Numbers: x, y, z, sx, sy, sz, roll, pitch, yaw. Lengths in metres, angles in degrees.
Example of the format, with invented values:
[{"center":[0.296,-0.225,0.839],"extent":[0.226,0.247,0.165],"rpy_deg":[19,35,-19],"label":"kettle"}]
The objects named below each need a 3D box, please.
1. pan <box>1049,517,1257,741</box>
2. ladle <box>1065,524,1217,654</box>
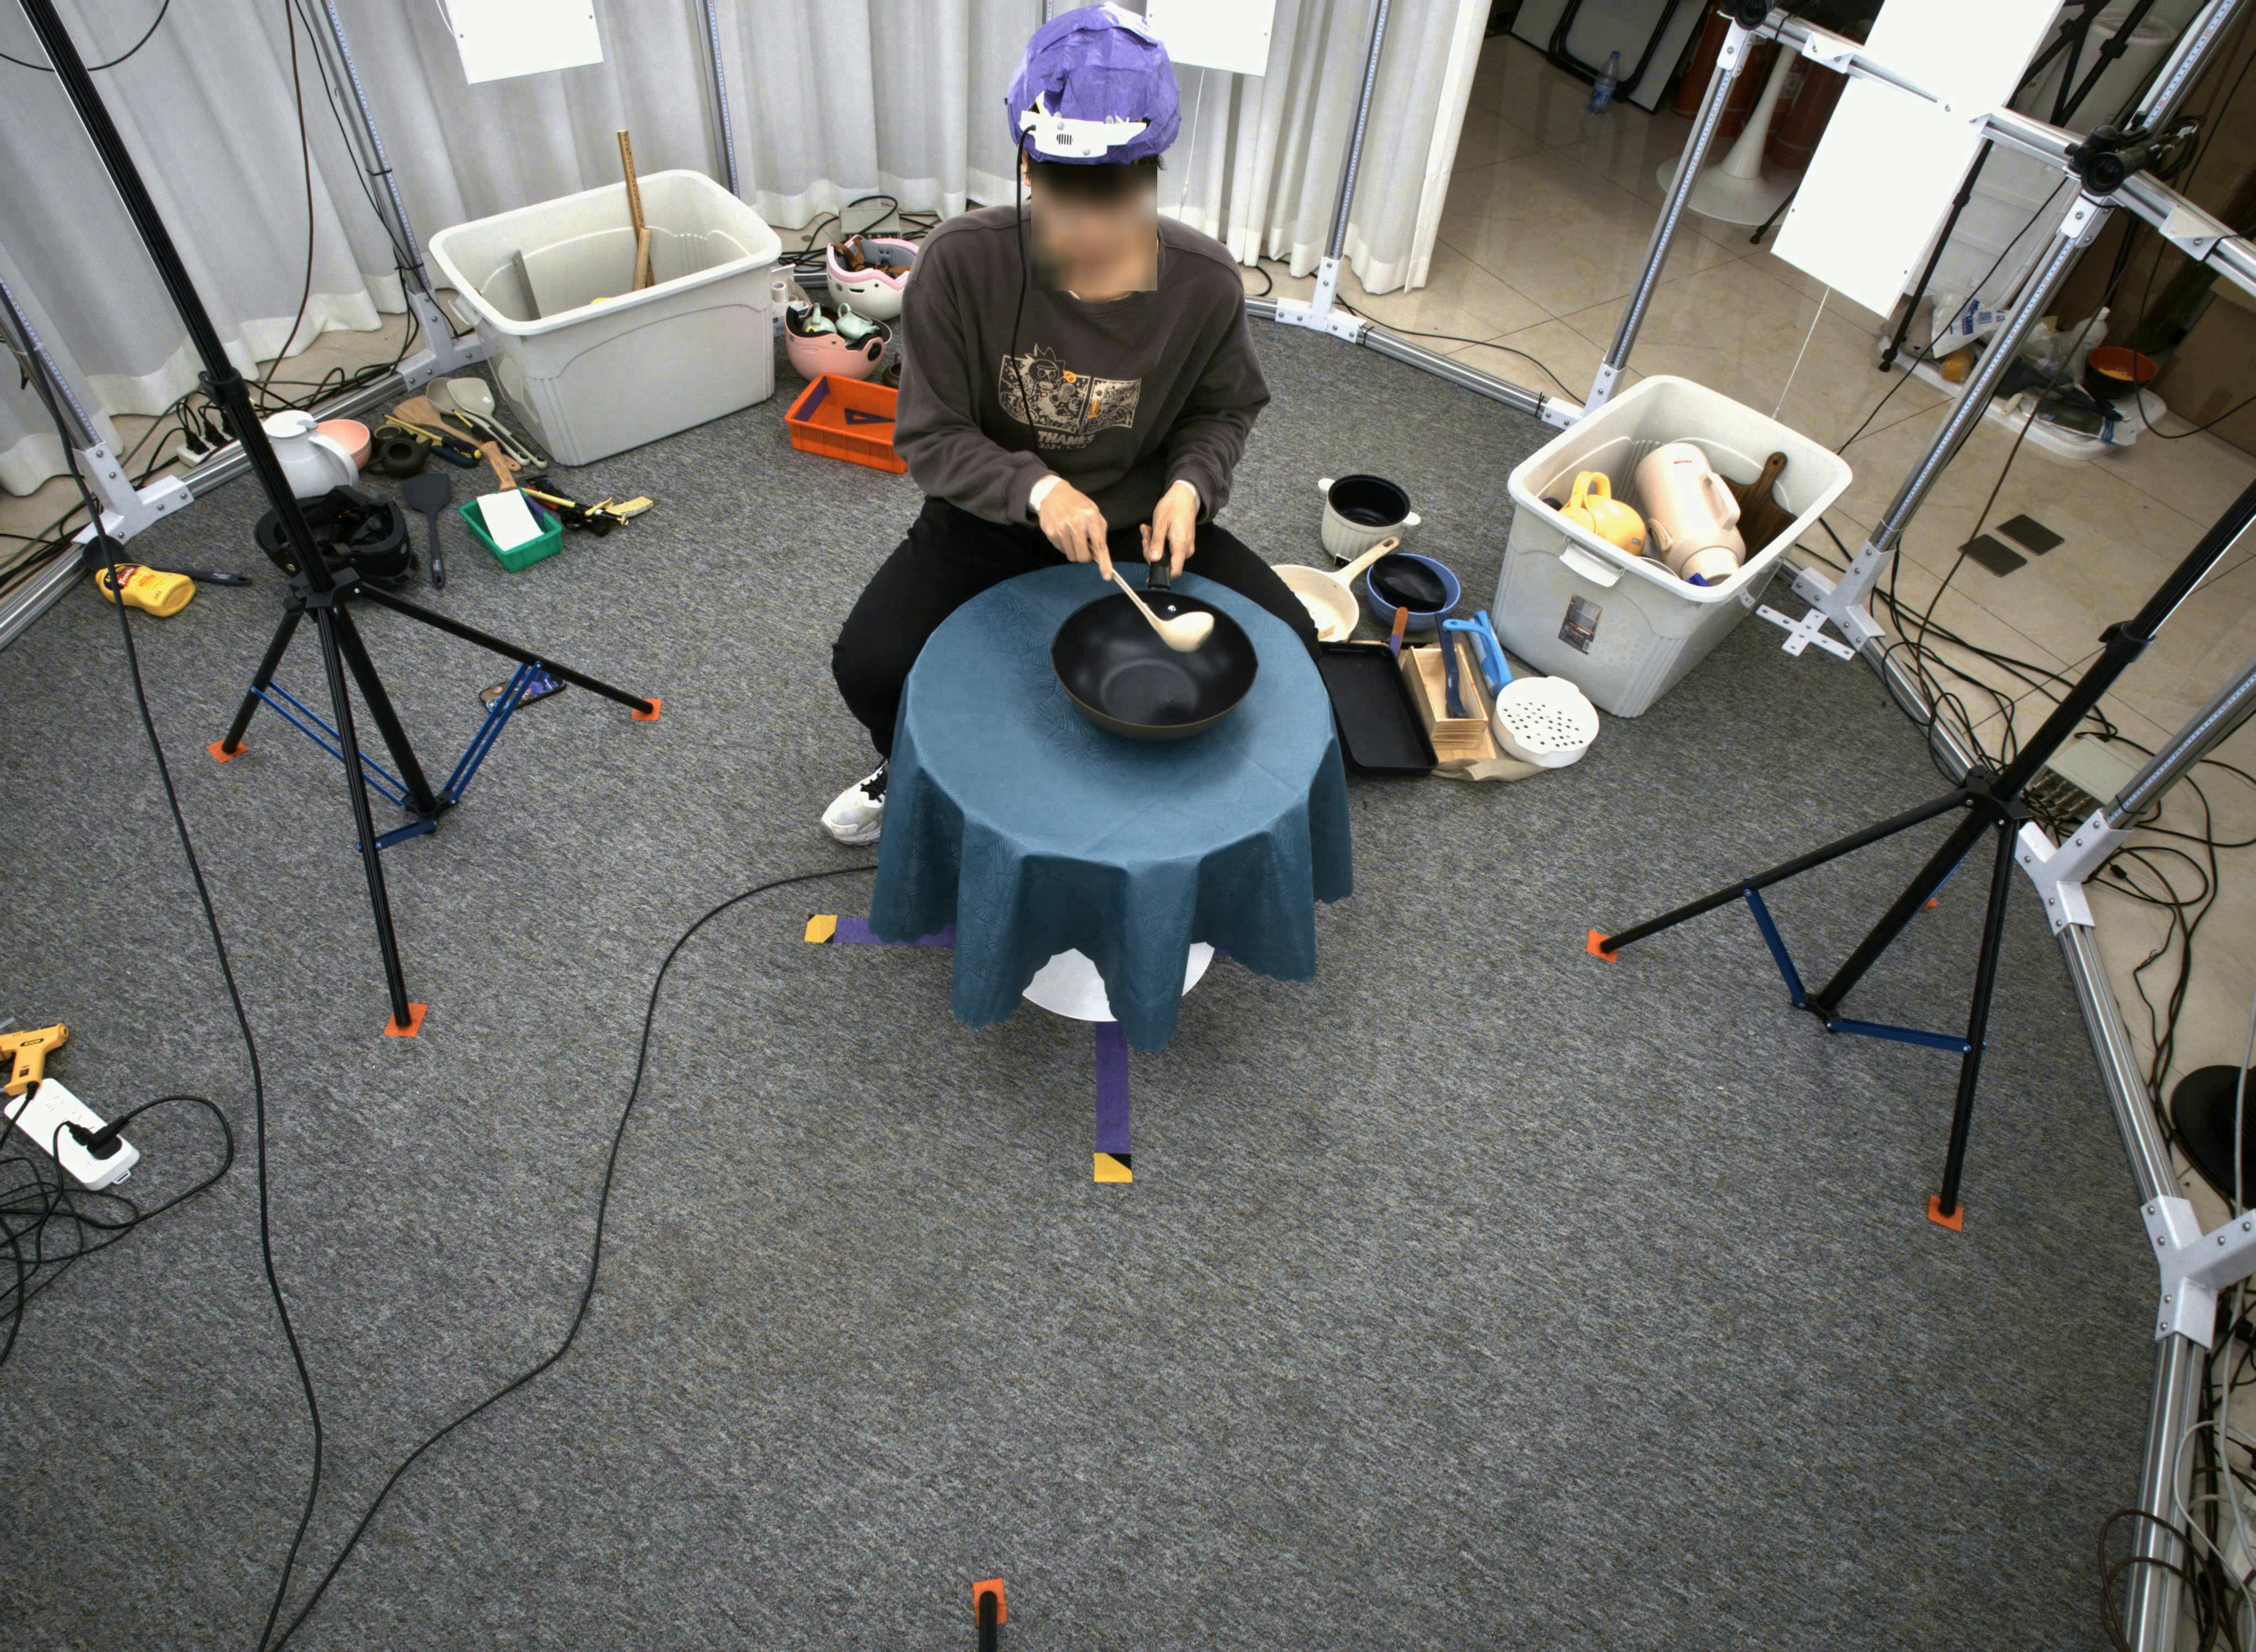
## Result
[{"center":[0.039,-0.280,1.859],"extent":[0.288,0.085,0.475],"rpy_deg":[4,48,1],"label":"pan"},{"center":[0.021,-0.346,1.788],"extent":[0.073,0.071,0.256],"rpy_deg":[-38,81,-15],"label":"ladle"}]
